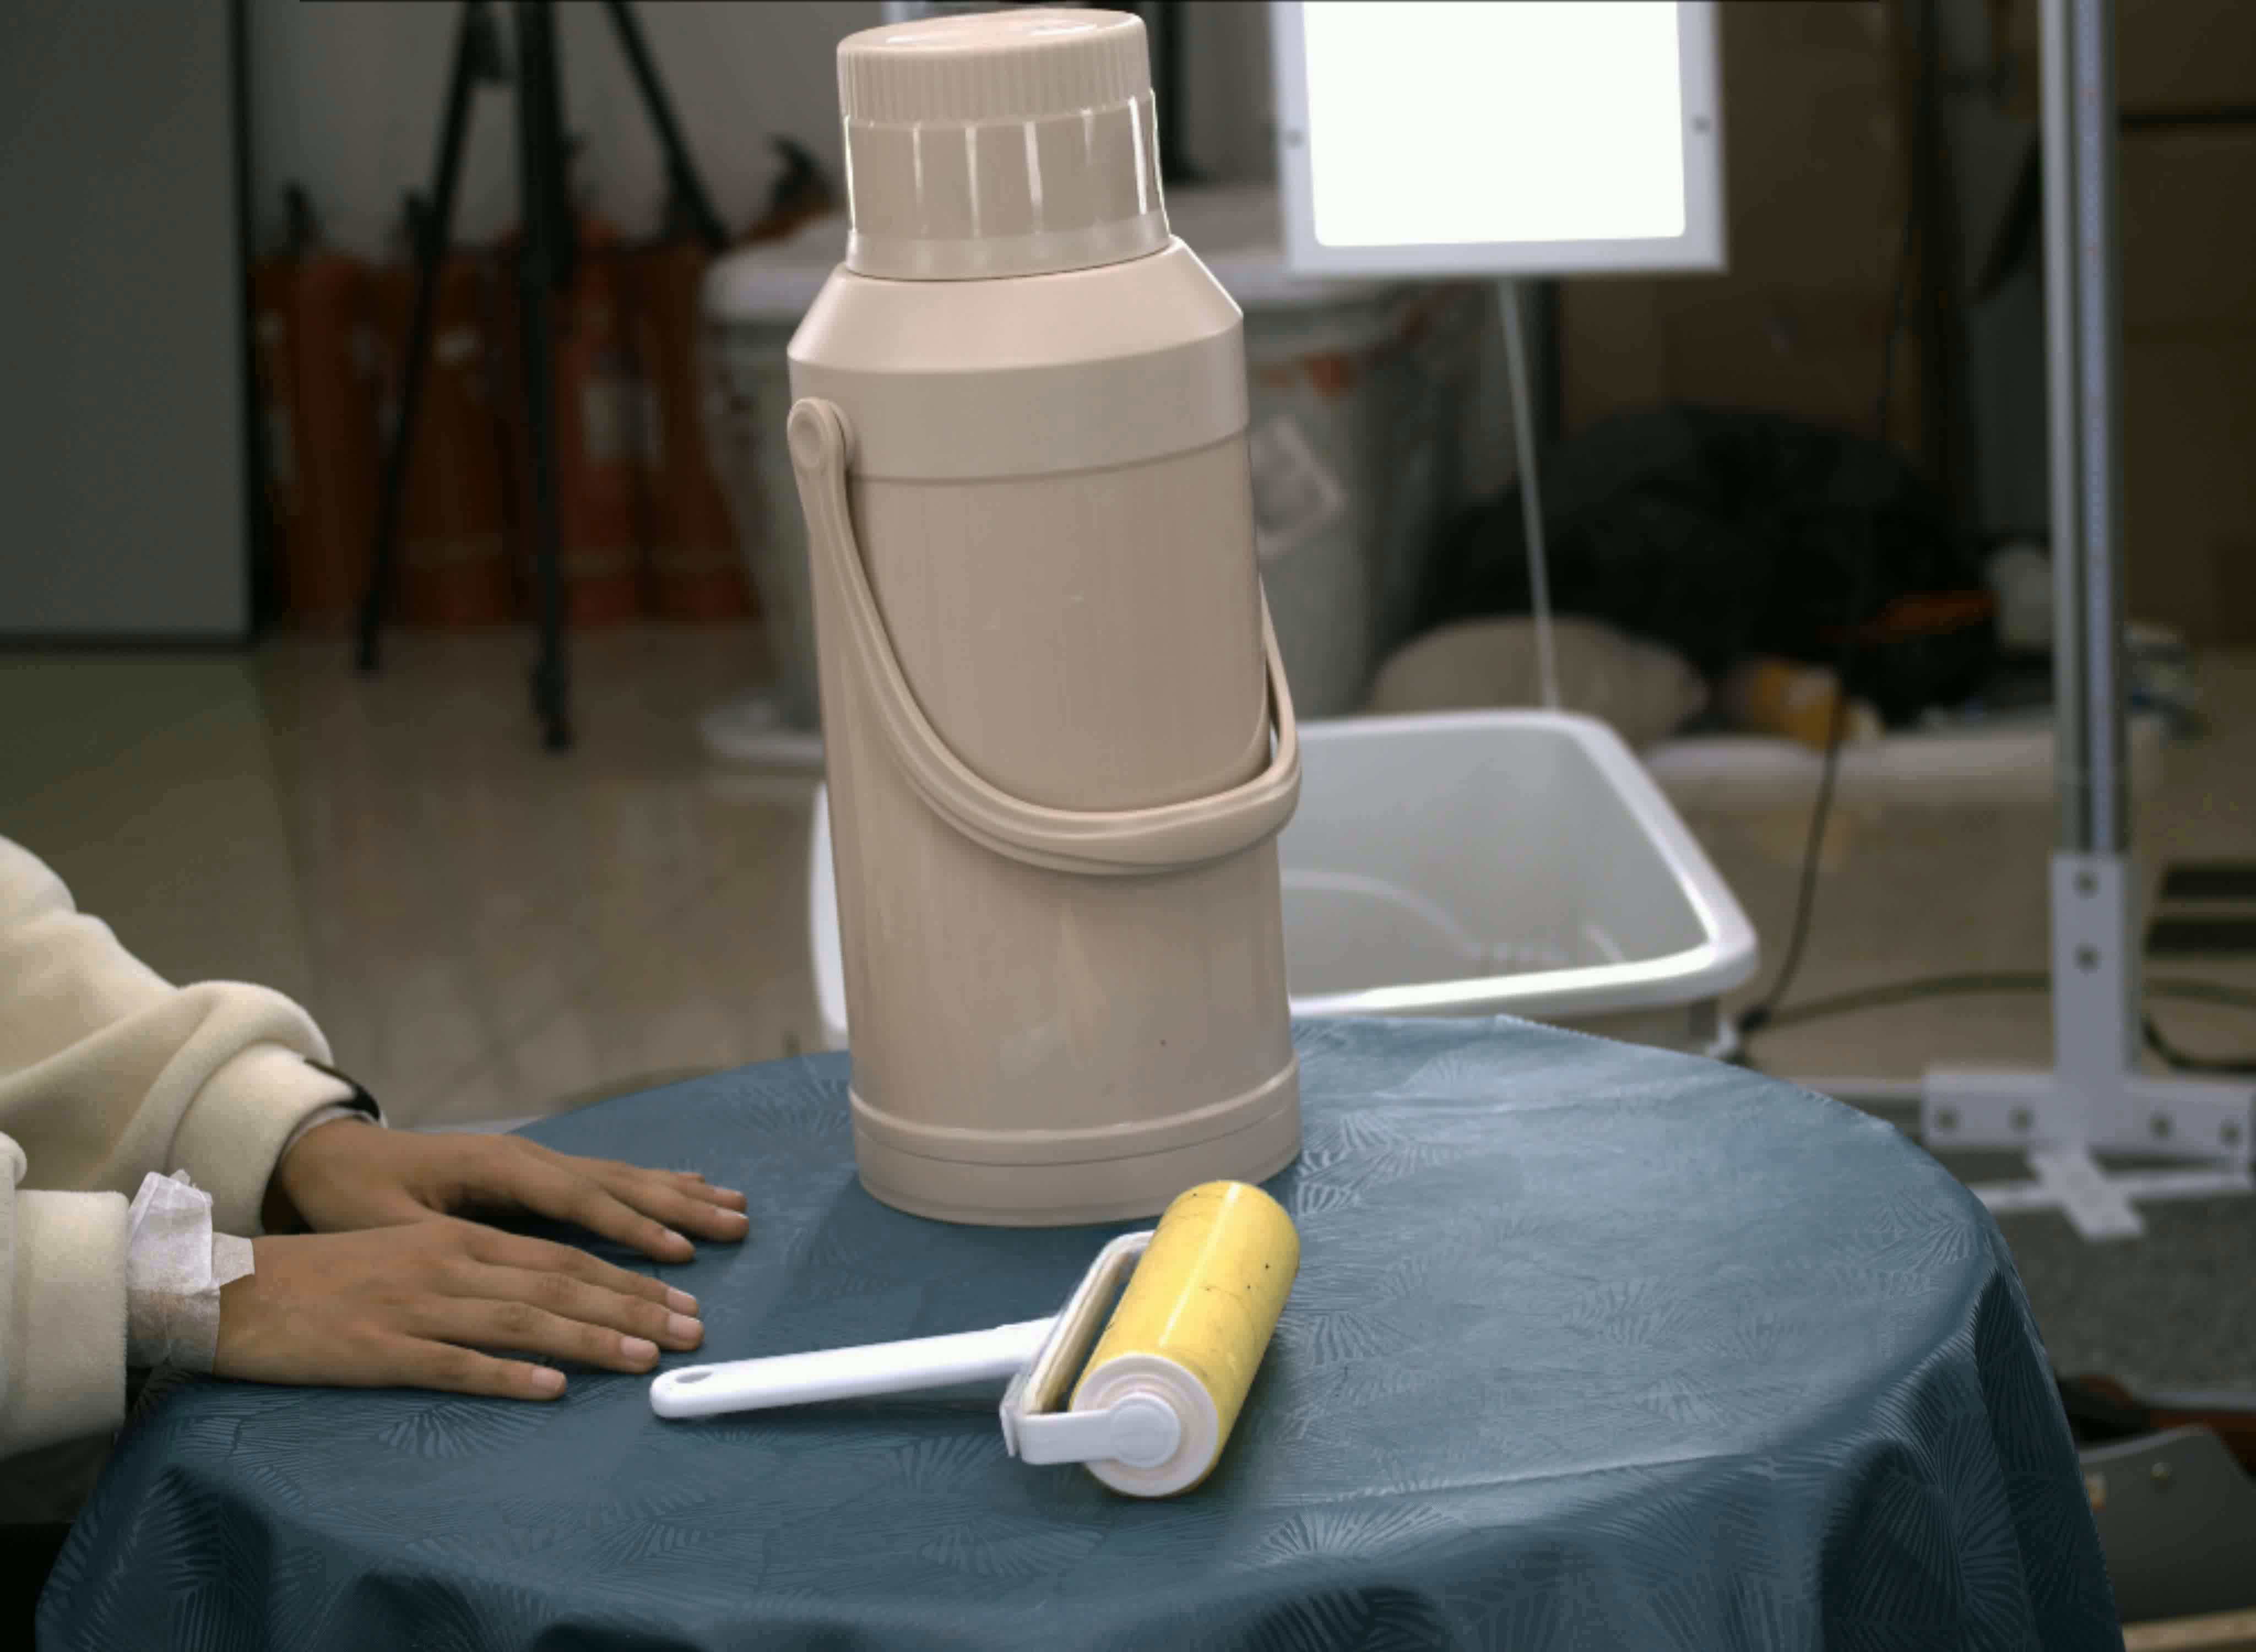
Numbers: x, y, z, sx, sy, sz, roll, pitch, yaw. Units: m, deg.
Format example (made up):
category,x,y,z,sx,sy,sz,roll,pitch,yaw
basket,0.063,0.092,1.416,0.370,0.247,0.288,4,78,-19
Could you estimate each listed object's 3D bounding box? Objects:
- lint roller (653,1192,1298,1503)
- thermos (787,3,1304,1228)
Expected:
category,x,y,z,sx,sy,sz,roll,pitch,yaw
lint roller,-0.052,0.154,1.690,0.193,0.051,0.172,4,15,9
thermos,-0.038,-0.076,1.905,0.171,0.408,0.211,-14,17,-33
